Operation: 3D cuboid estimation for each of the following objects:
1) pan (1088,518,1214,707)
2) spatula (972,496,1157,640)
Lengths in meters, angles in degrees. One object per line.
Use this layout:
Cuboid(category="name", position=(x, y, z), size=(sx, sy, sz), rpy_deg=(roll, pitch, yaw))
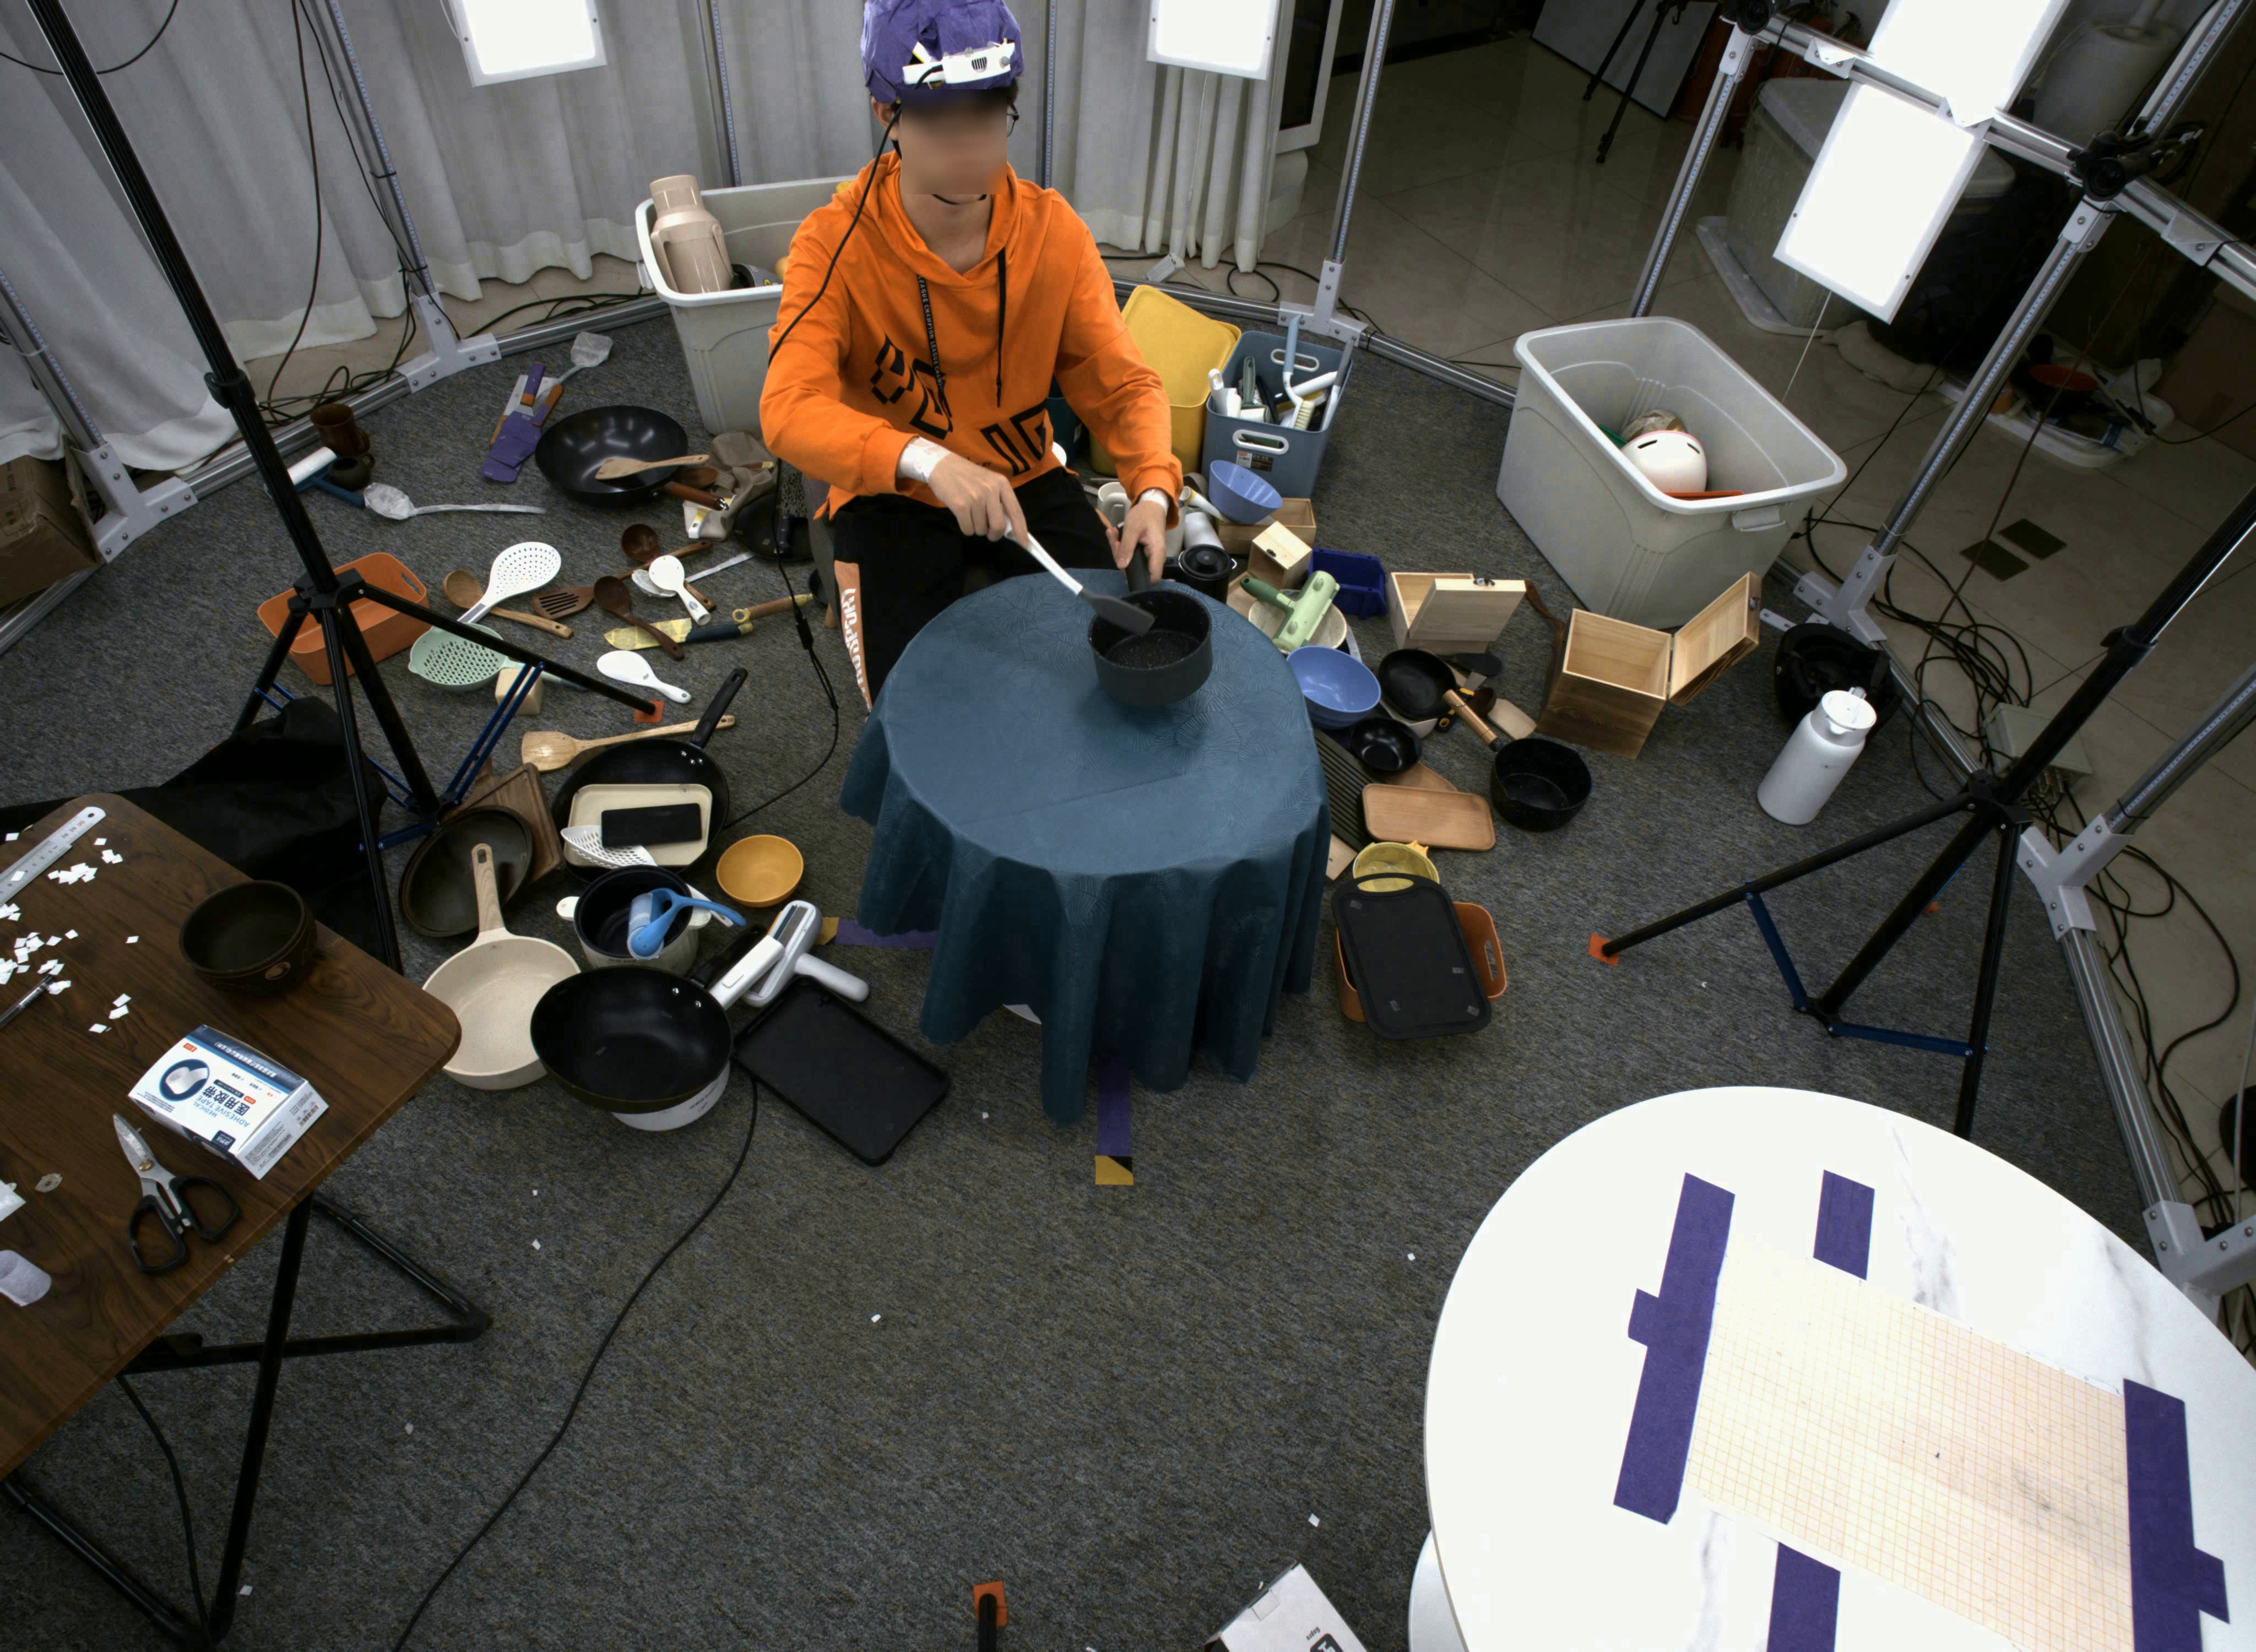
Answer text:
Cuboid(category="pan", position=(0.027, -0.307, 1.832), size=(0.172, 0.084, 0.337), rpy_deg=(-7, 48, 1))
Cuboid(category="spatula", position=(-0.086, -0.344, 1.741), size=(0.287, 0.058, 0.033), rpy_deg=(37, 55, -3))
